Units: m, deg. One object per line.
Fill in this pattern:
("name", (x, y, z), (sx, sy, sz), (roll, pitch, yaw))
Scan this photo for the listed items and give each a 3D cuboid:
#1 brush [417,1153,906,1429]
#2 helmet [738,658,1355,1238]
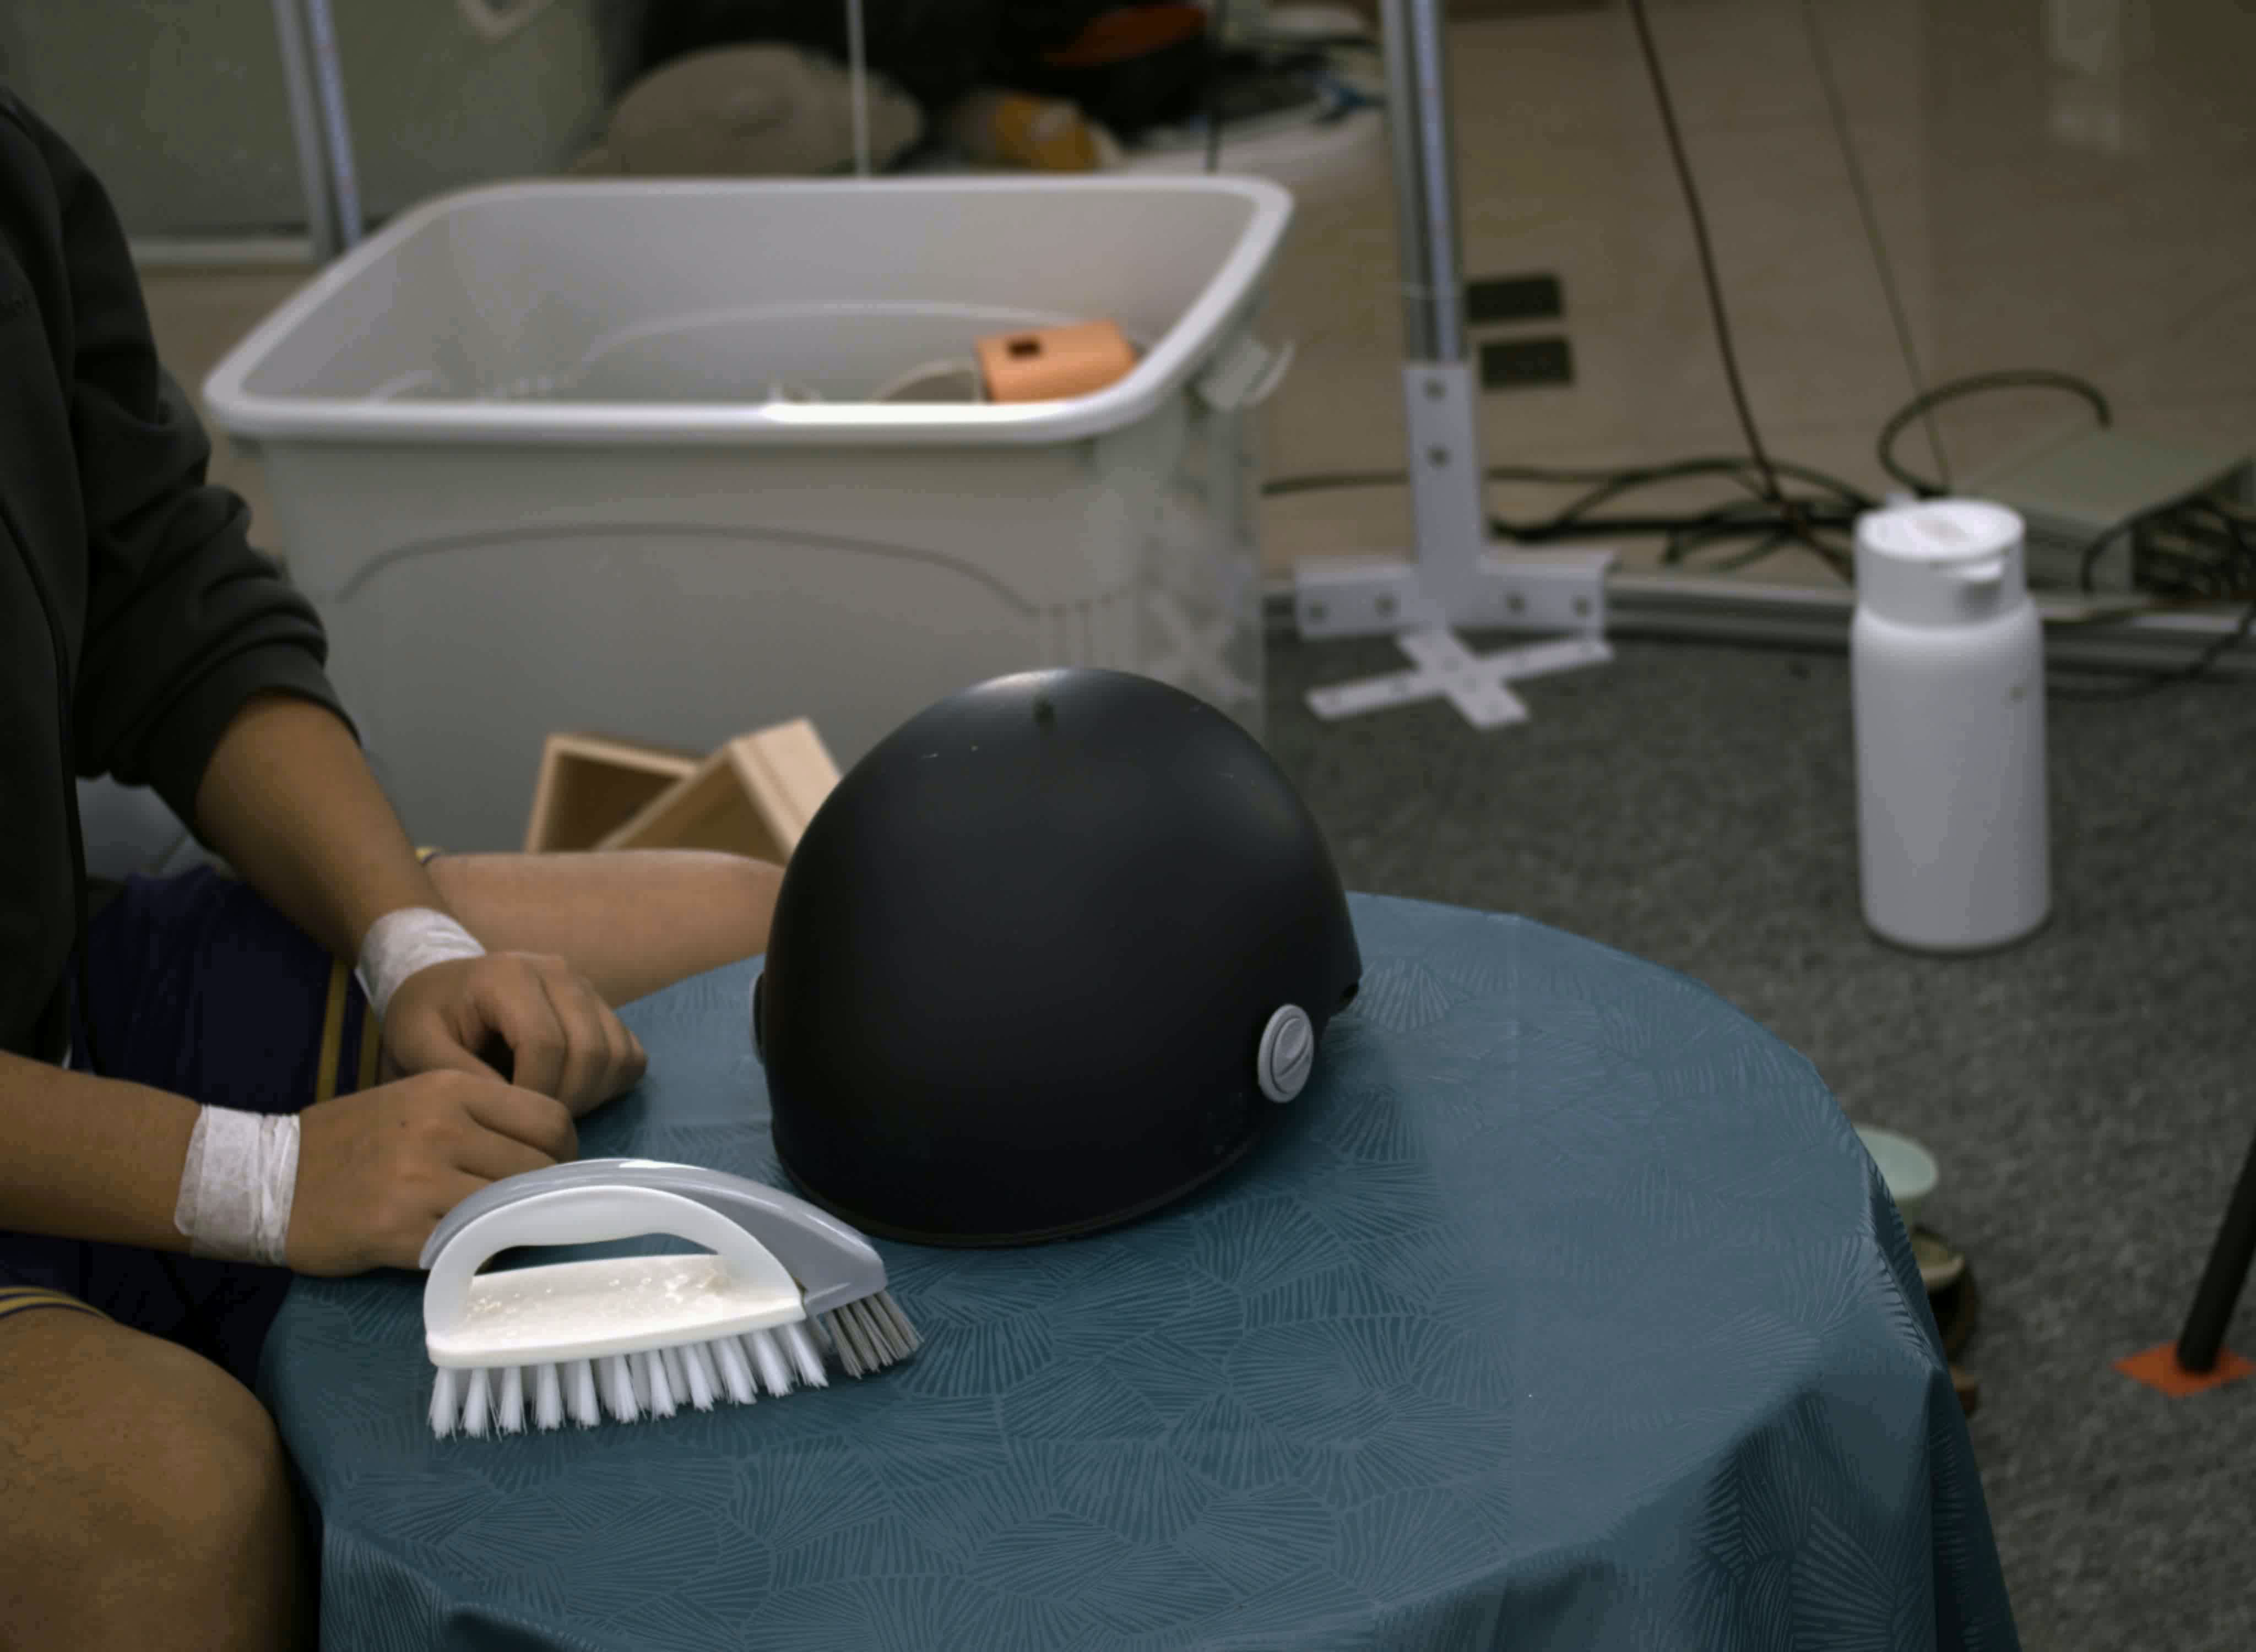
("brush", (-0.170, 0.159, 2.037), (0.175, 0.096, 0.060), (-4, 27, 2))
("helmet", (-0.035, 0.030, 2.198), (0.229, 0.169, 0.269), (4, 29, 23))
